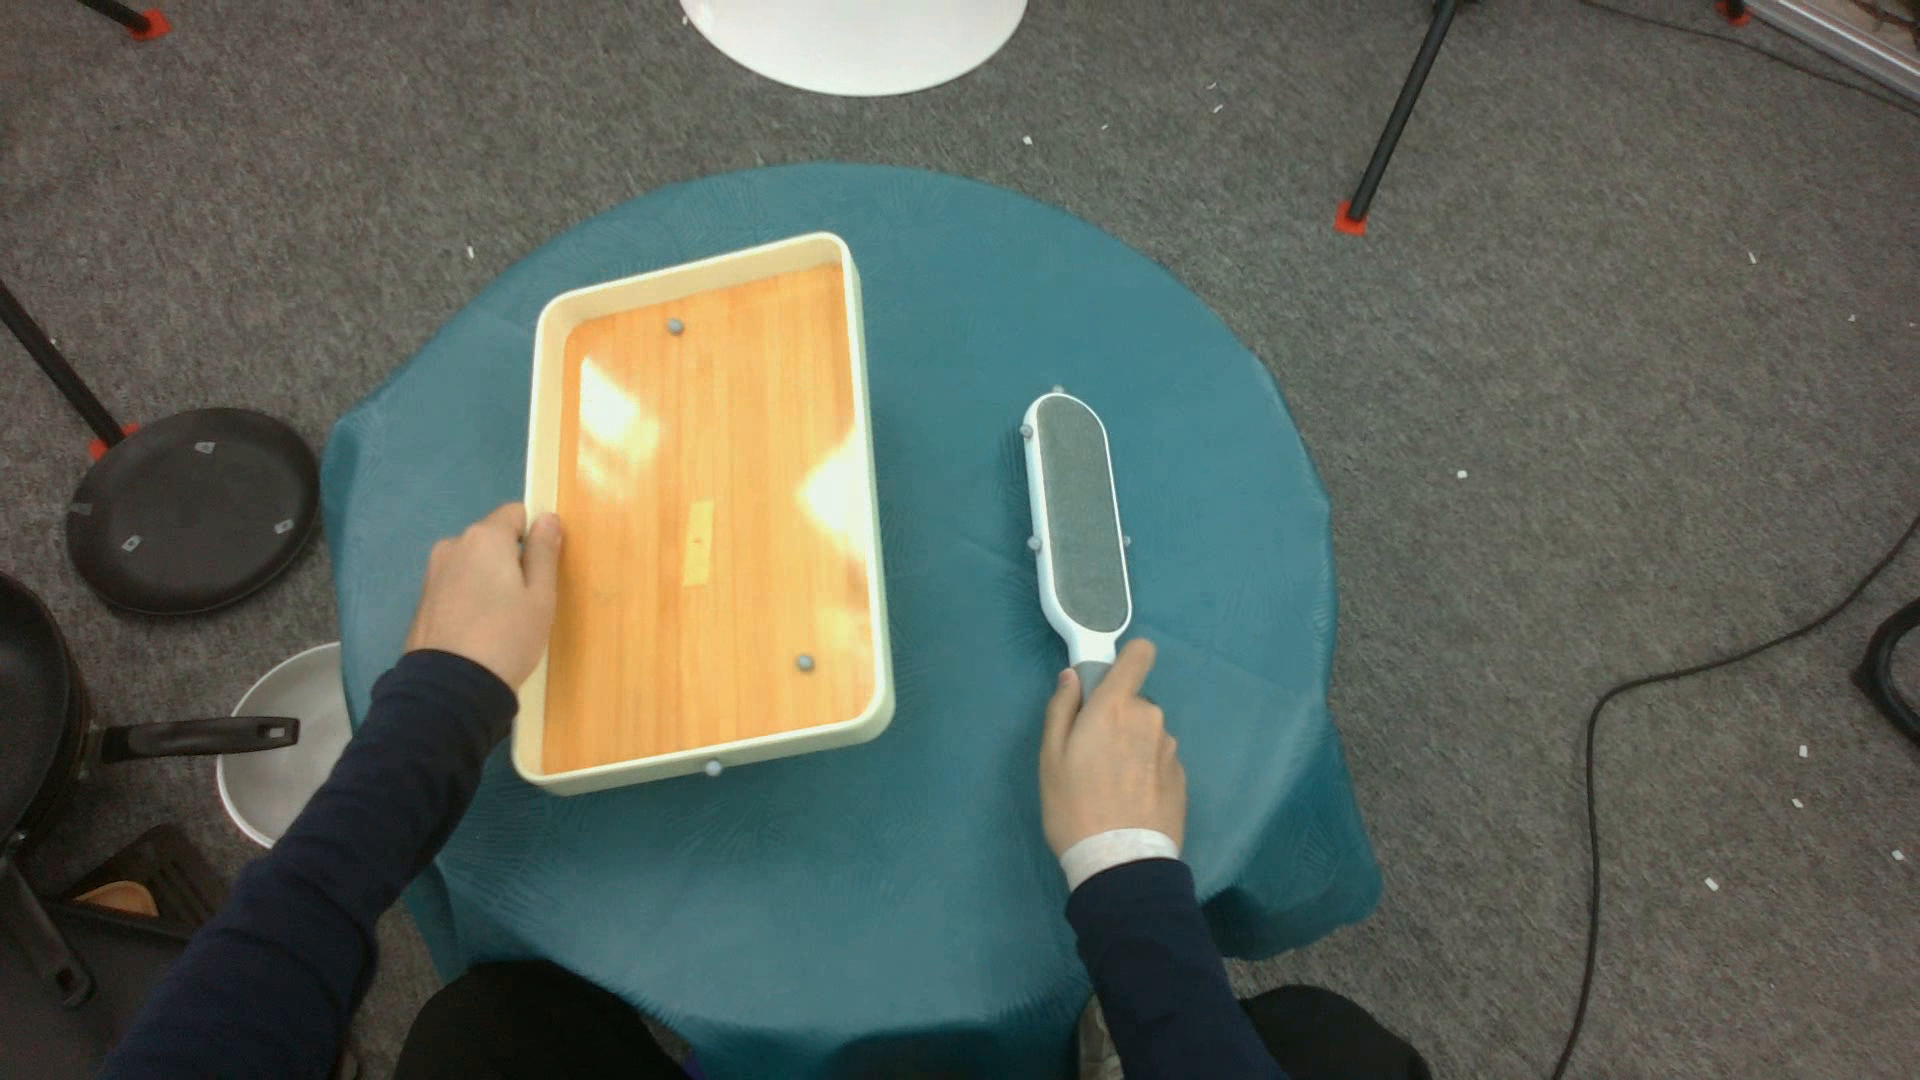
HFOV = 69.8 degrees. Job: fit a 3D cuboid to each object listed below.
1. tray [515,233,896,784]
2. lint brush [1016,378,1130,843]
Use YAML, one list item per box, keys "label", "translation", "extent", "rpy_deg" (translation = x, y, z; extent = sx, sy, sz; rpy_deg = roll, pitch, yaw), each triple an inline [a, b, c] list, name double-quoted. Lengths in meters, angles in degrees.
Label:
- label: "tray"
  translation: [-0.138, -0.027, 0.741]
  extent: [0.191, 0.027, 0.301]
  rpy_deg: [-10, 61, 7]
- label: "lint brush"
  translation: [0.067, 0.027, 0.799]
  extent: [0.060, 0.021, 0.310]
  rpy_deg: [15, 52, -26]
